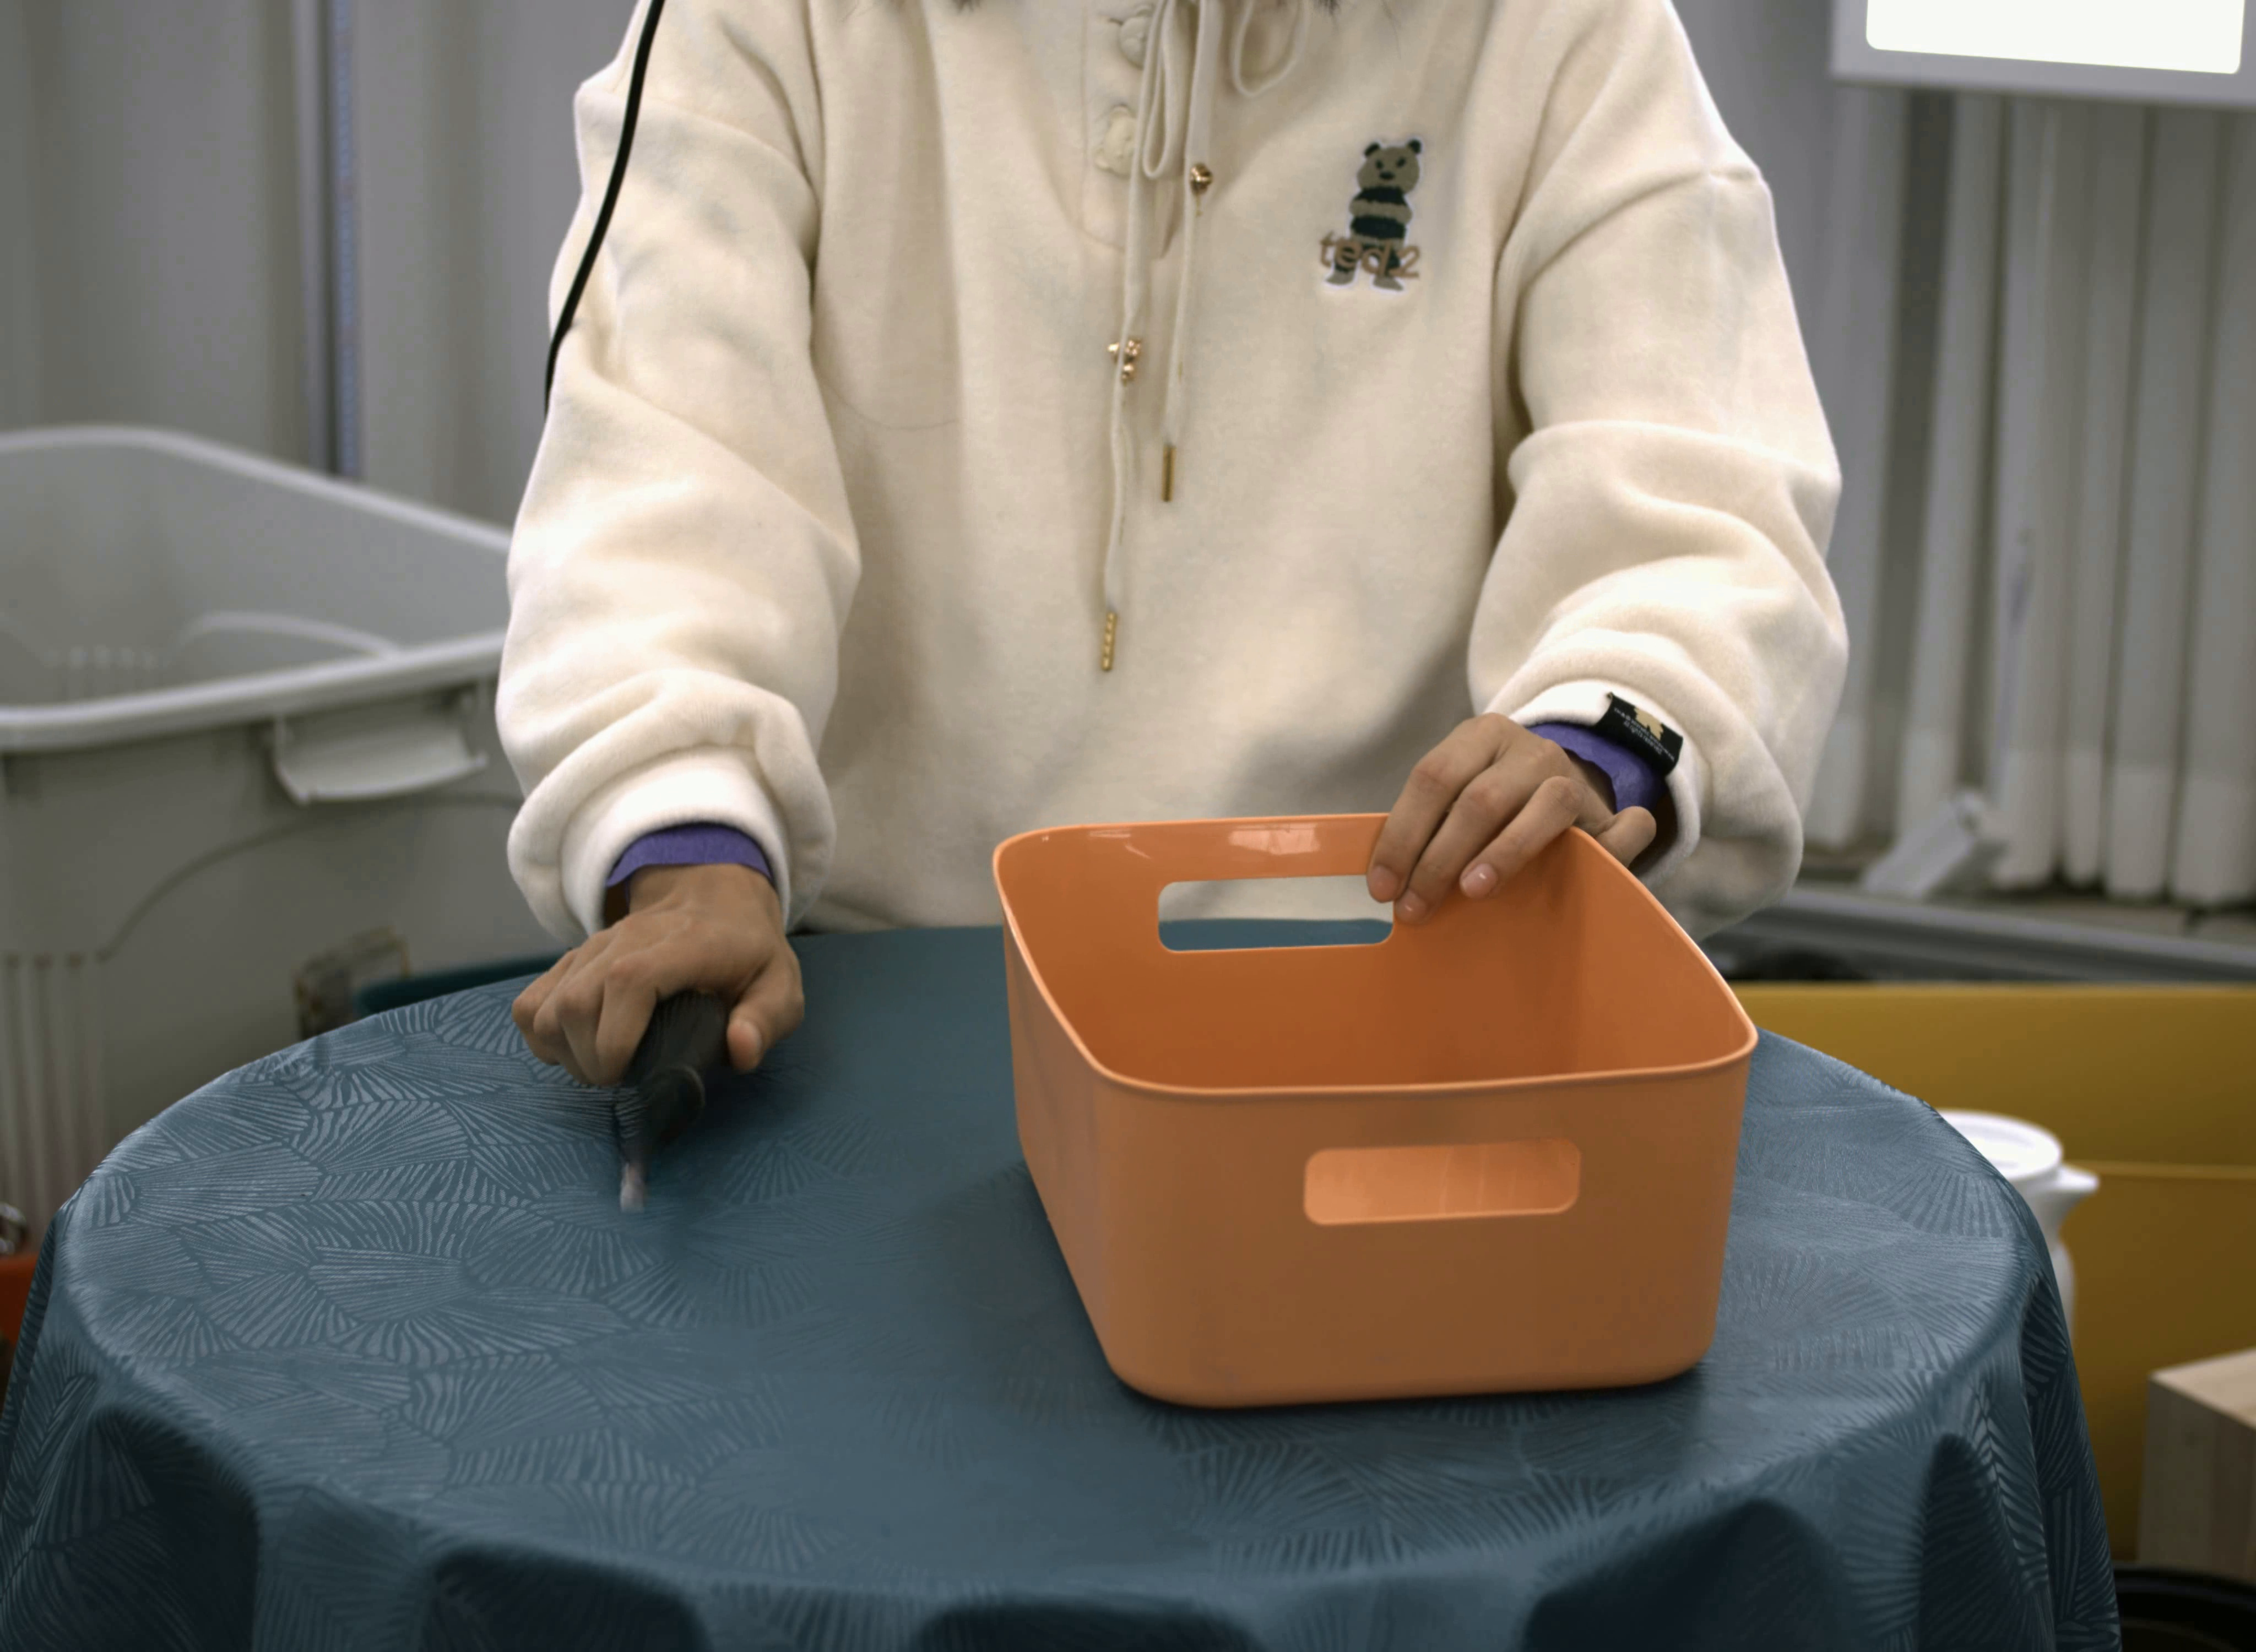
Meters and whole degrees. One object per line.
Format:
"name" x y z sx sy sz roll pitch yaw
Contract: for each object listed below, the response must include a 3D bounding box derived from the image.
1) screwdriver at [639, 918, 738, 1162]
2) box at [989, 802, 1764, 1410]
"screwdriver" -0.136 0.068 1.617 0.031 0.032 0.196 0 18 -3
"box" 0.068 0.078 1.546 0.199 0.103 0.271 -3 17 -9
